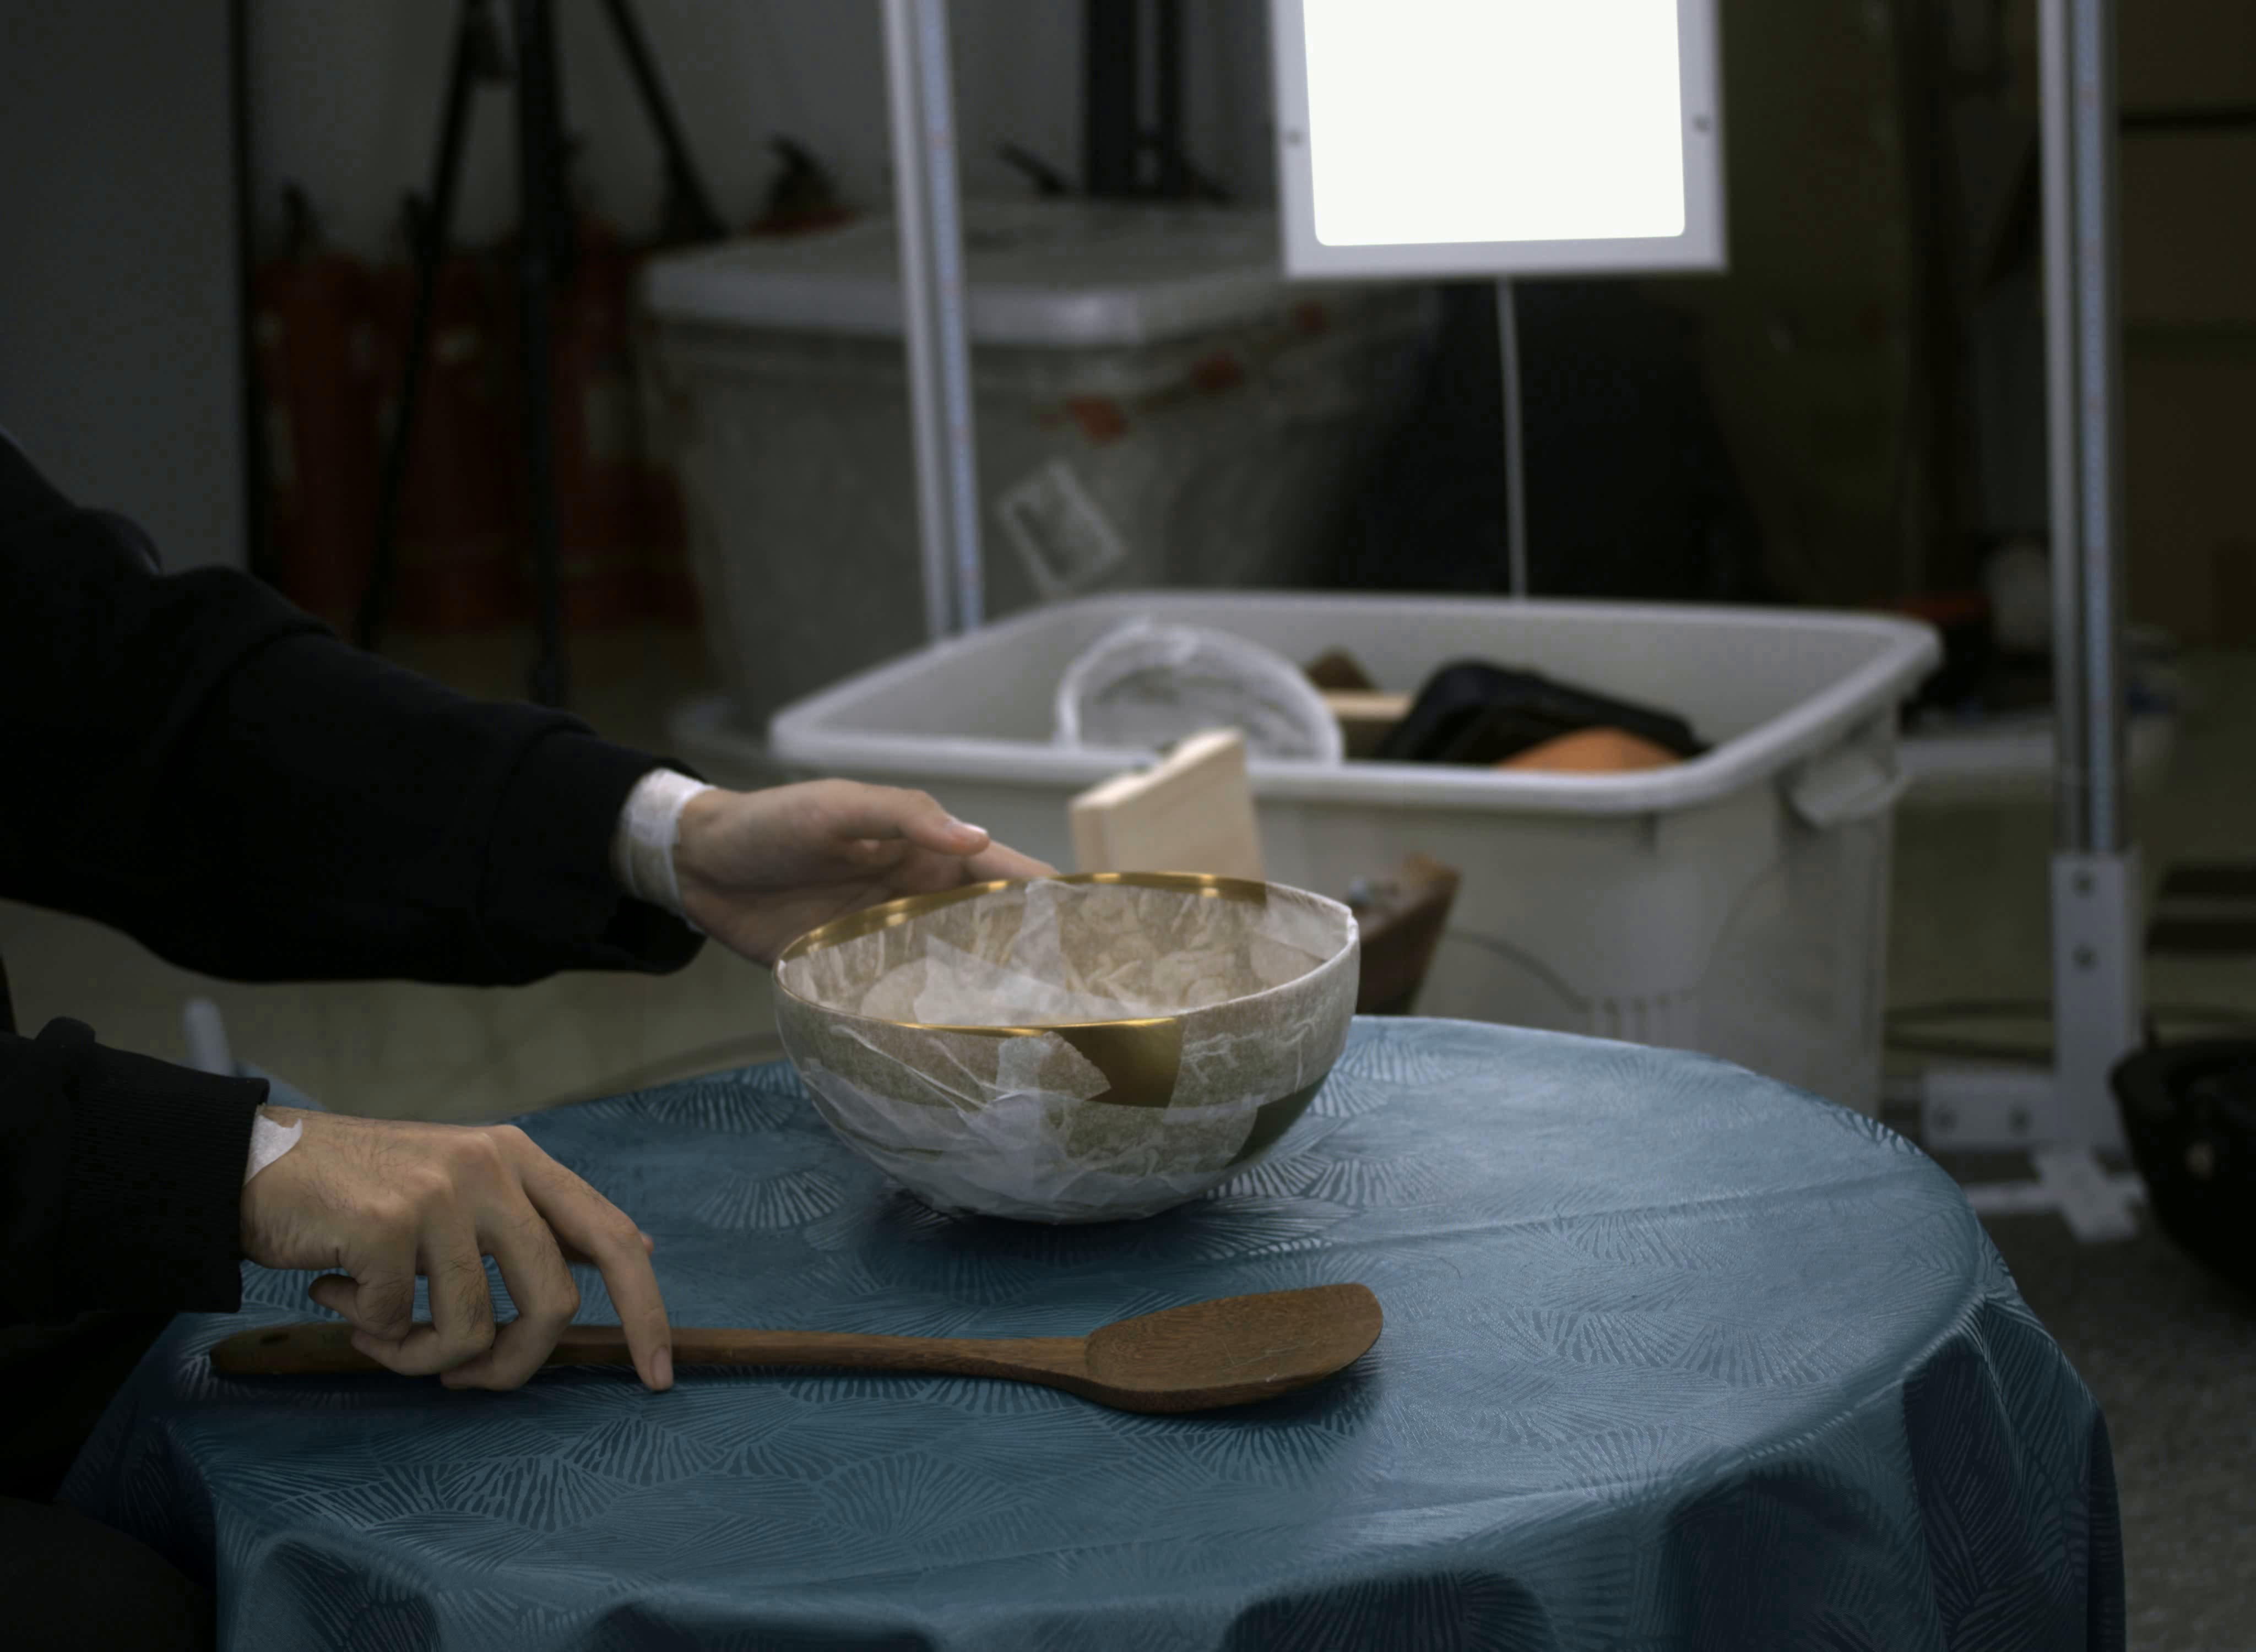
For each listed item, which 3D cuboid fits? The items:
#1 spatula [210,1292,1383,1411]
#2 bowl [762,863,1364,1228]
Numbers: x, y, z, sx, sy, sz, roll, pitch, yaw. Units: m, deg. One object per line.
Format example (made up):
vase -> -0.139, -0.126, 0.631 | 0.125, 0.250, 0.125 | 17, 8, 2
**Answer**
spatula -> -0.110, 0.165, 1.746 | 0.389, 0.016, 0.095 | -1, 13, 15
bowl -> -0.019, 0.083, 1.889 | 0.214, 0.095, 0.214 | -6, 14, 0
